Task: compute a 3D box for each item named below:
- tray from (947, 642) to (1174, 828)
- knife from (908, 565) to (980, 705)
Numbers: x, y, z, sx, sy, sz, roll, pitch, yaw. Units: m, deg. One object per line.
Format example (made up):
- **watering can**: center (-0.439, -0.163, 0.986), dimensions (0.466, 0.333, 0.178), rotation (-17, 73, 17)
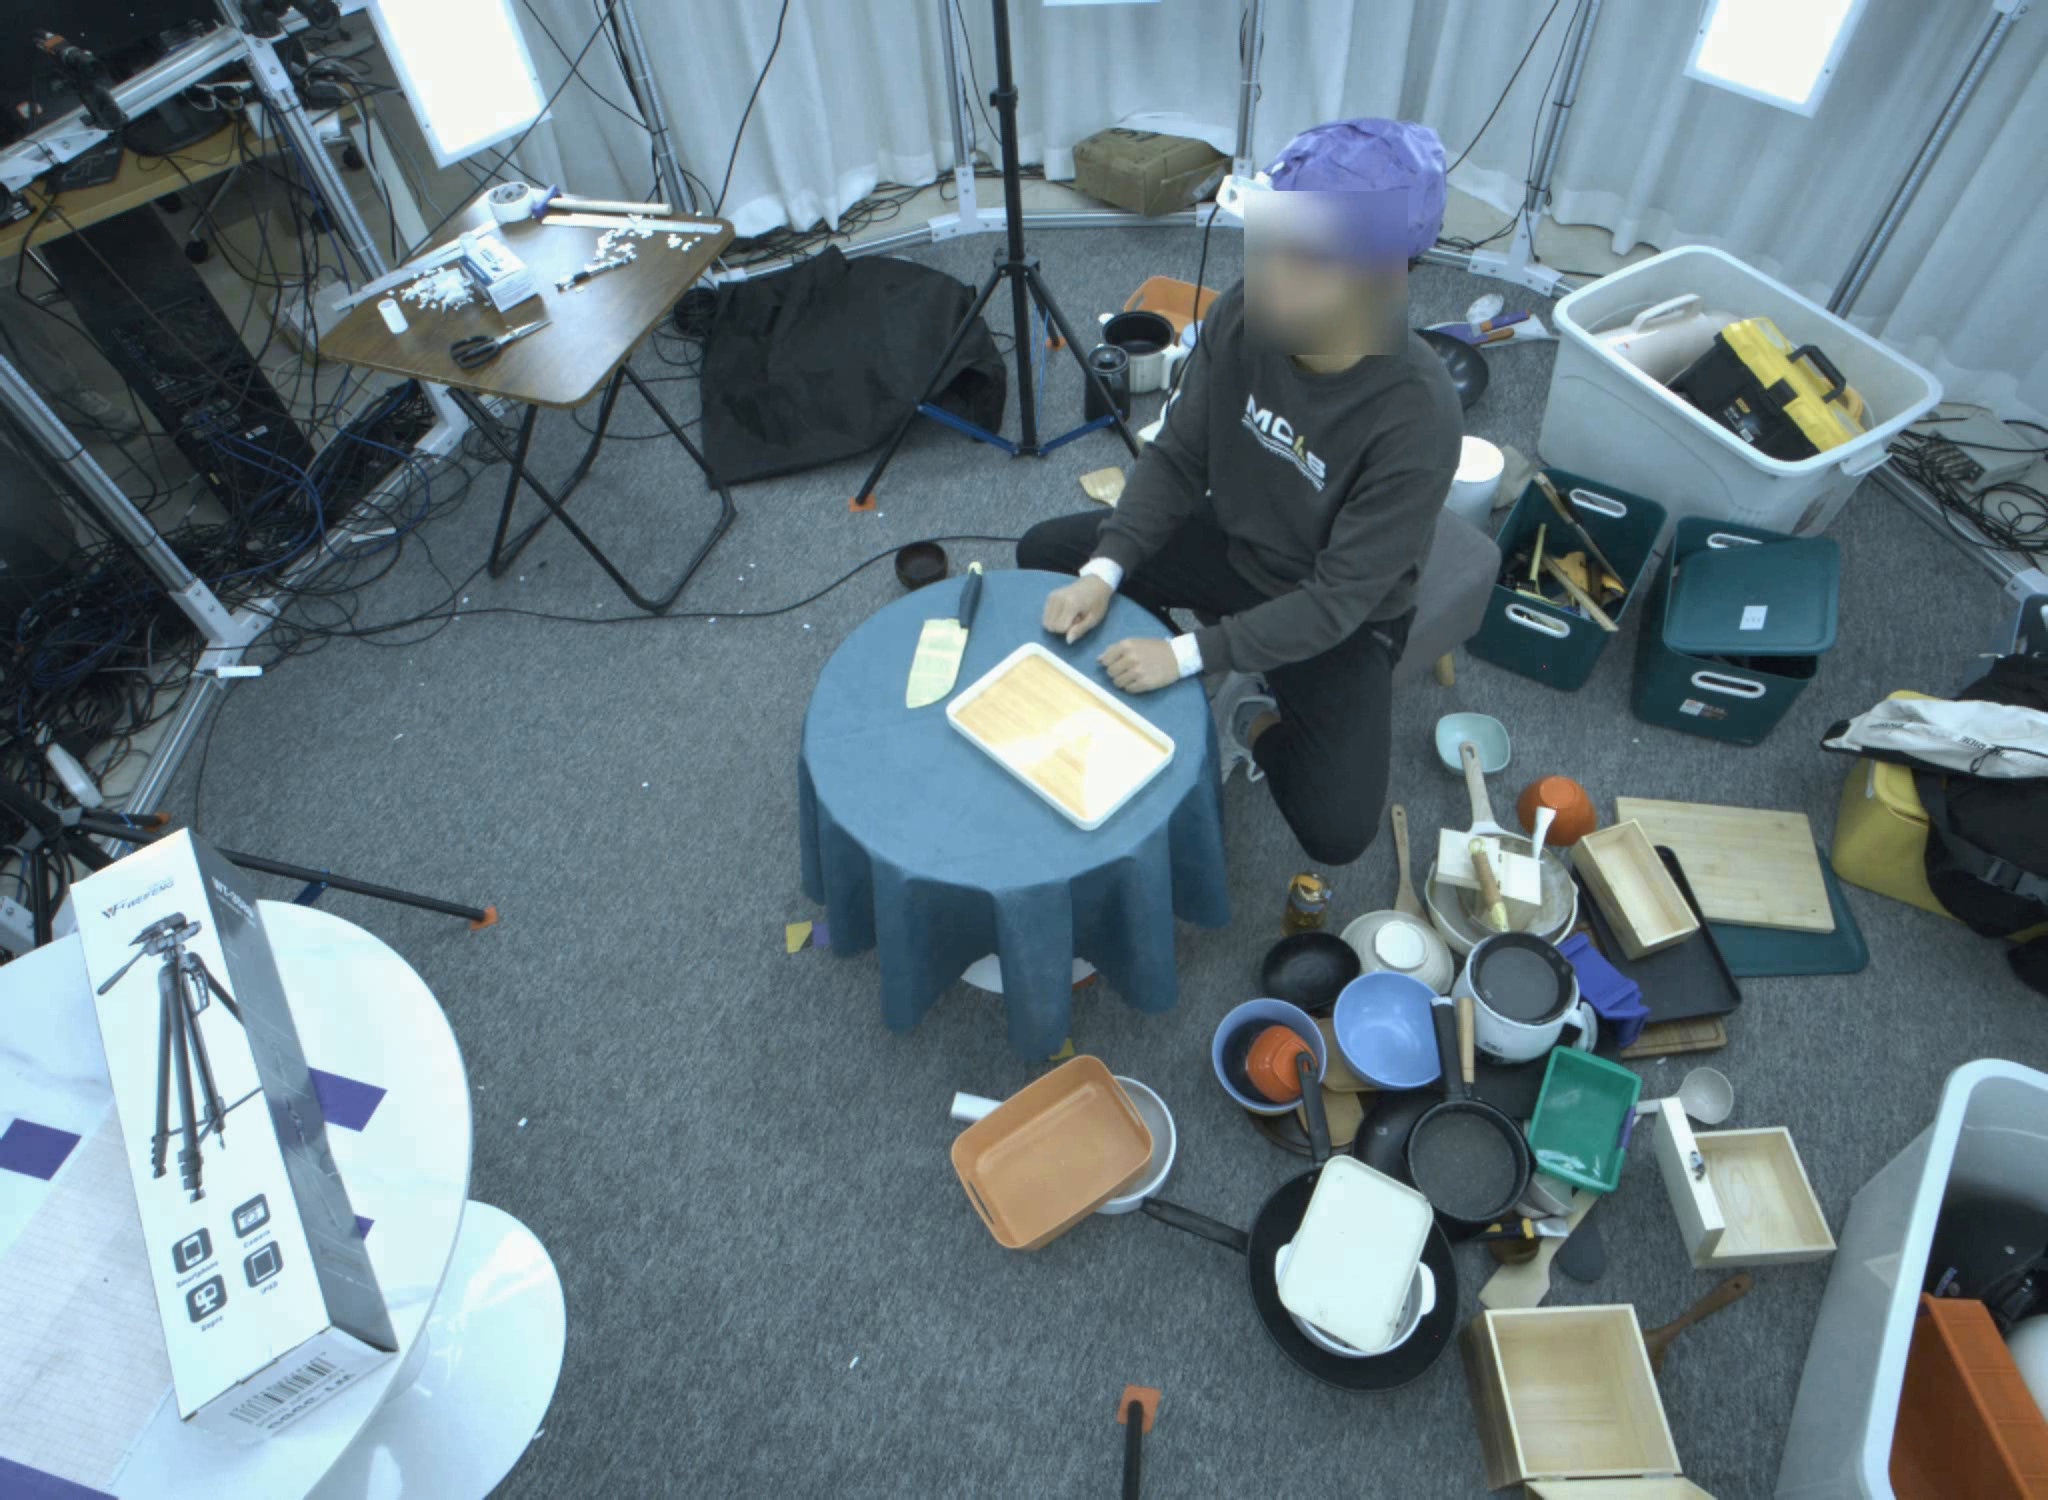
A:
- **tray**: center (0.051, -0.028, 1.797), dimensions (0.295, 0.027, 0.193), rotation (38, 63, 24)
- **knife**: center (-0.123, -0.183, 1.920), dimensions (0.080, 0.027, 0.288), rotation (11, 56, 7)
